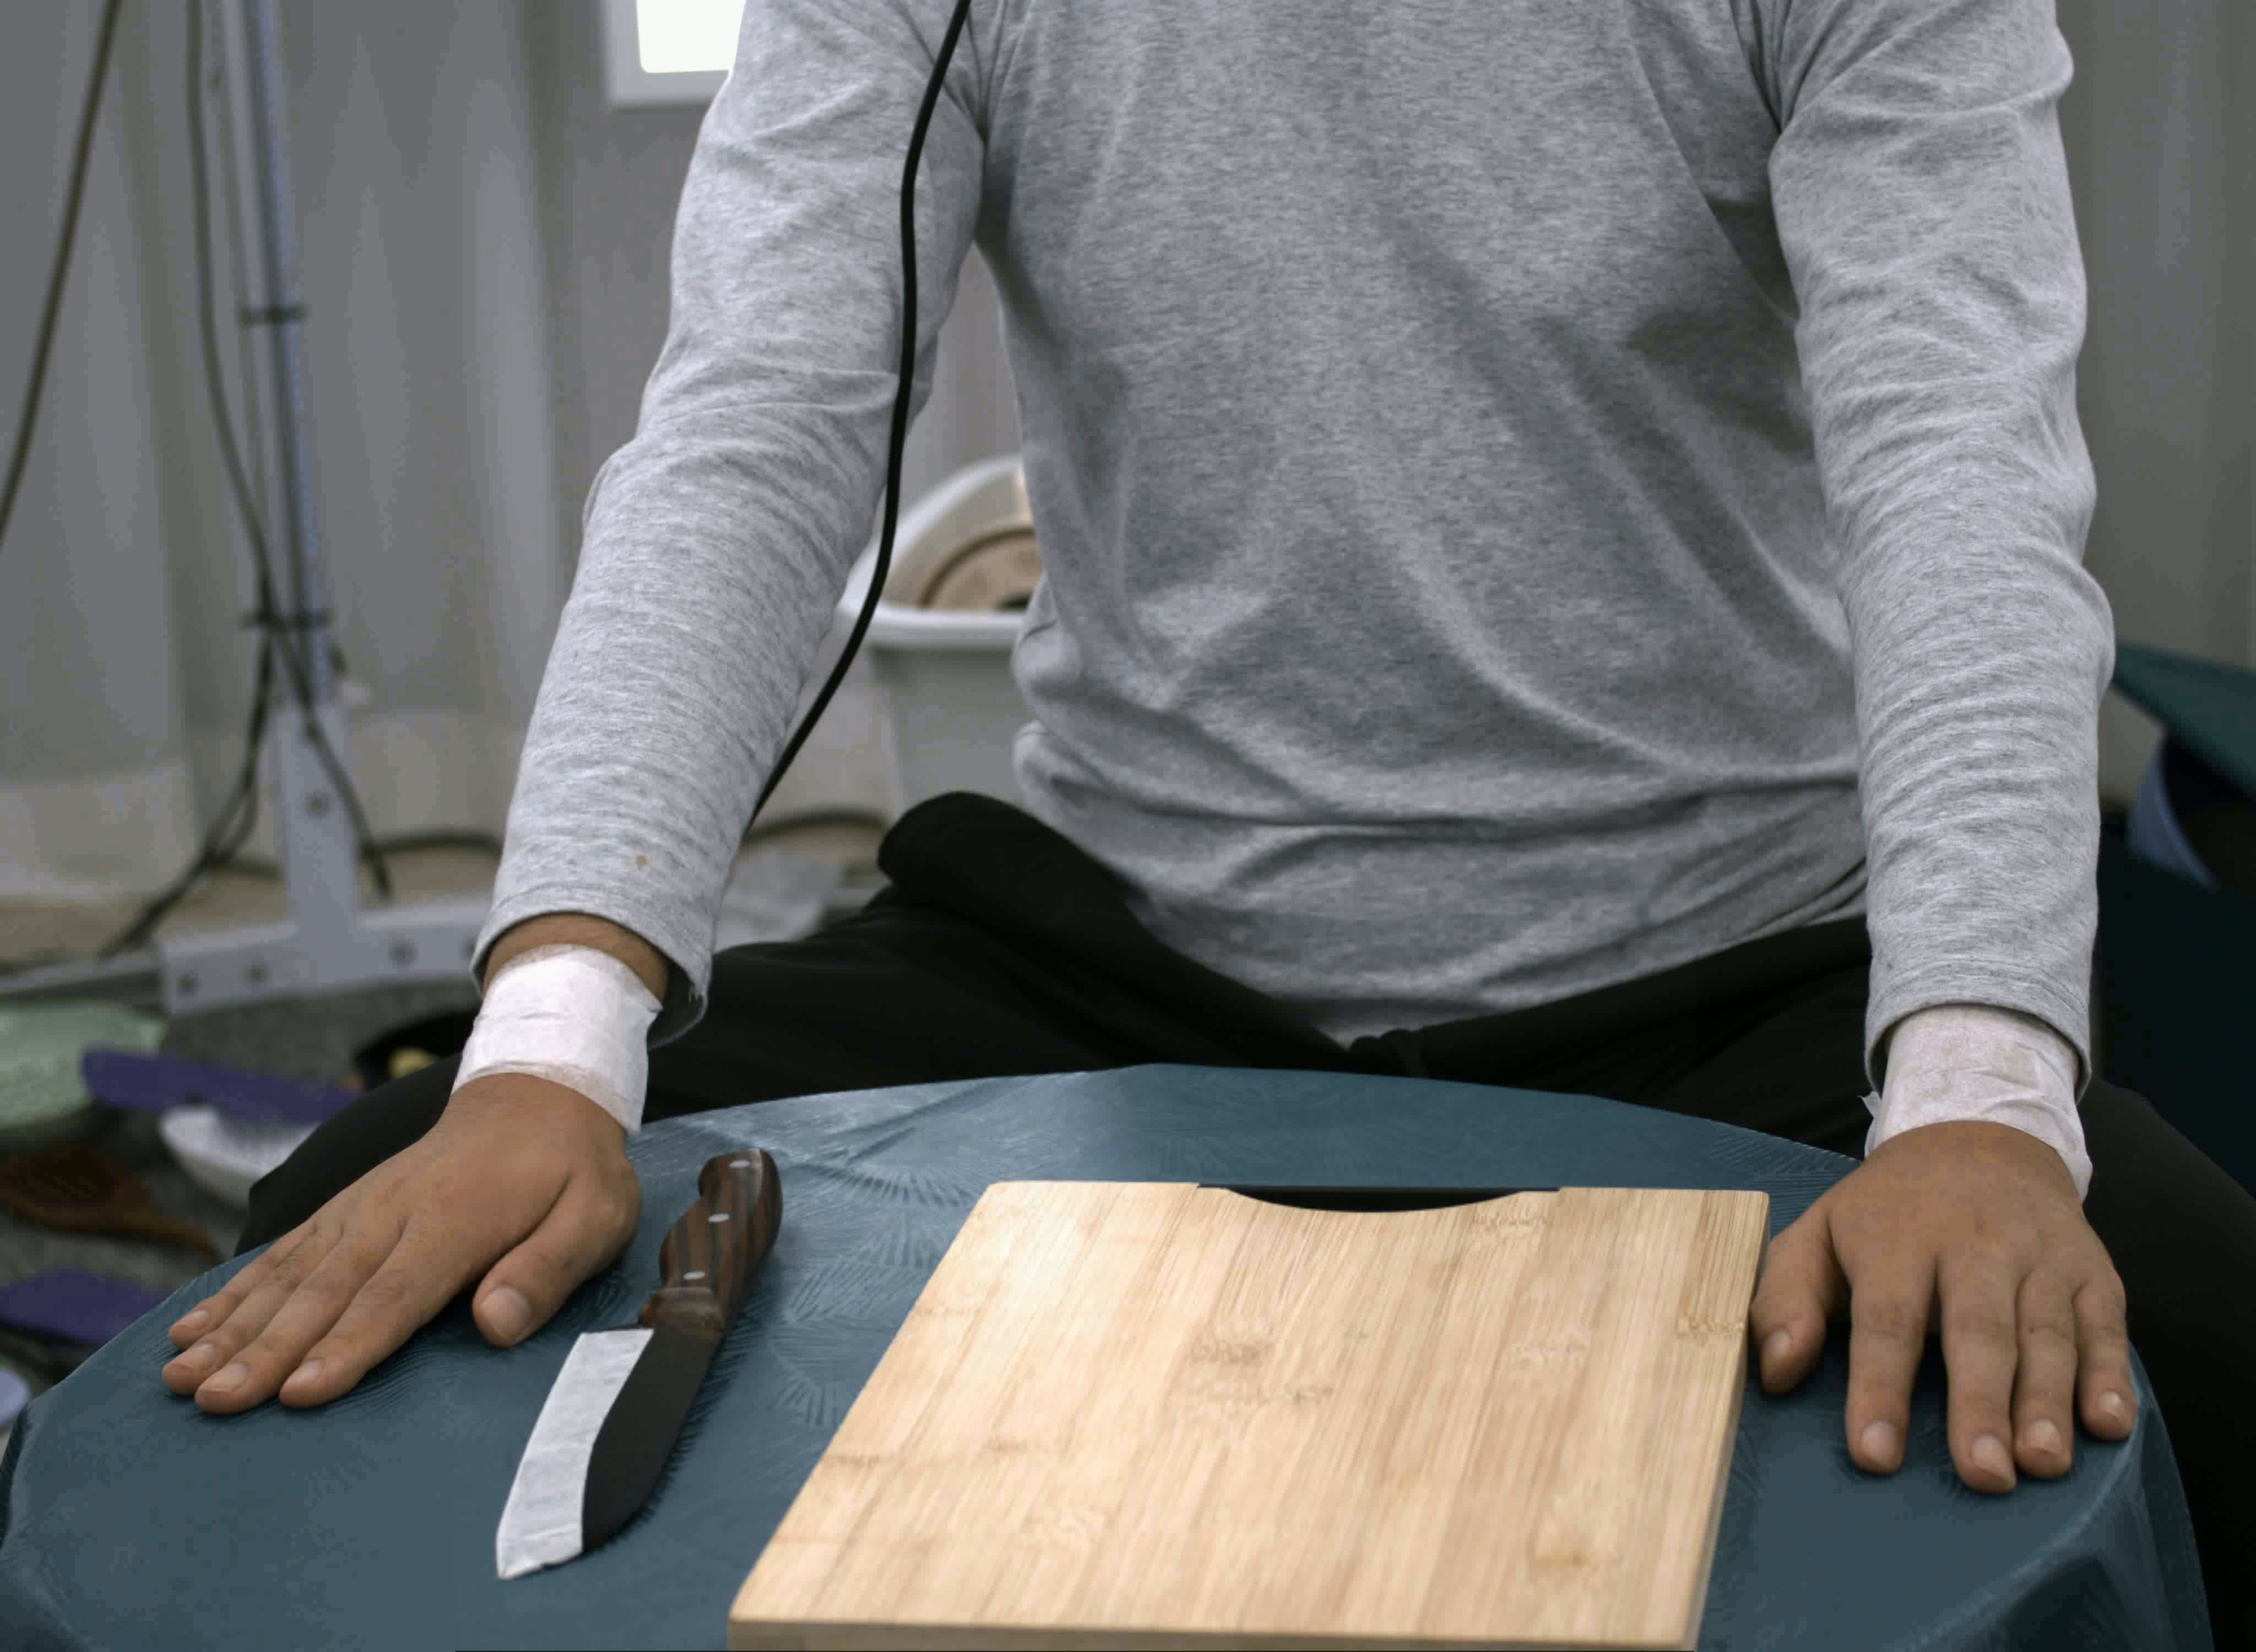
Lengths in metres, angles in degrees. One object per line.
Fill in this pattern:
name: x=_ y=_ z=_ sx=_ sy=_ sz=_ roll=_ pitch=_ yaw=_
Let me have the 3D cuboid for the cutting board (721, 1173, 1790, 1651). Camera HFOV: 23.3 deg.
cutting board: x=0.048 y=0.161 z=1.503 sx=0.250 sy=0.023 sz=0.350 roll=0 pitch=15 yaw=10

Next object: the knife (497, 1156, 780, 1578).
knife: x=-0.138 y=0.154 z=1.568 sx=0.050 sy=0.020 sz=0.291 roll=-5 pitch=17 yaw=10
